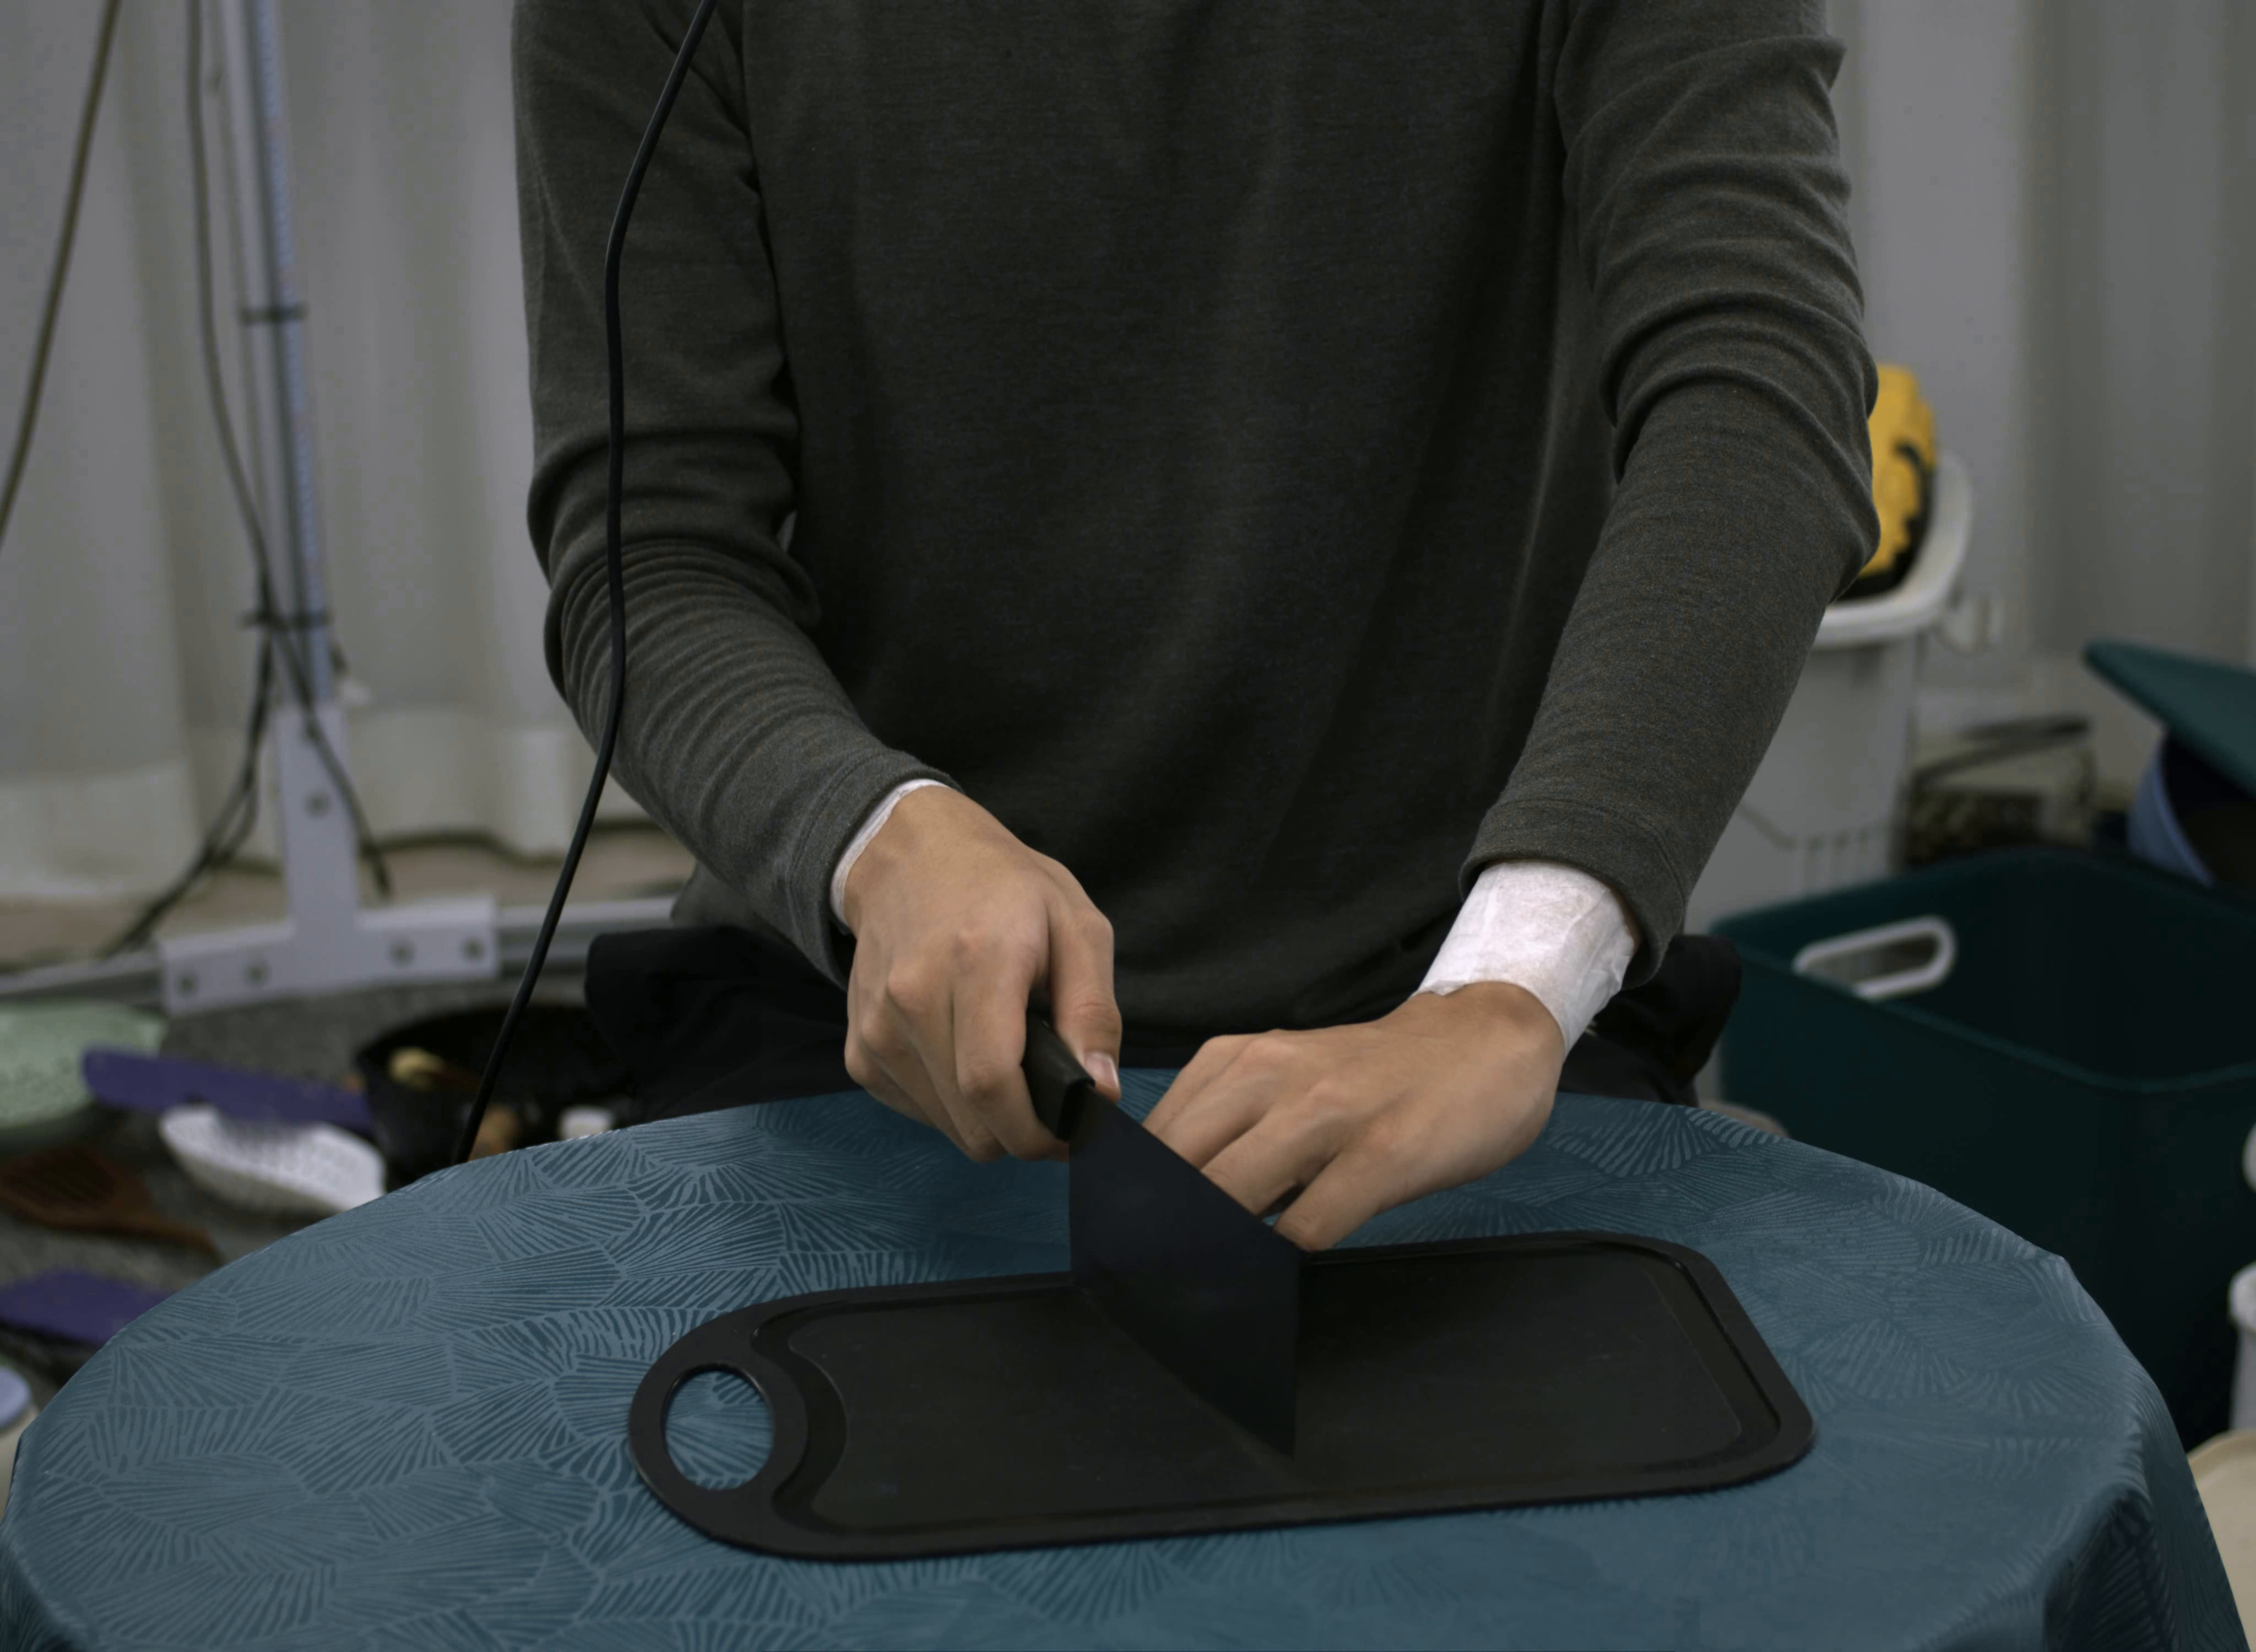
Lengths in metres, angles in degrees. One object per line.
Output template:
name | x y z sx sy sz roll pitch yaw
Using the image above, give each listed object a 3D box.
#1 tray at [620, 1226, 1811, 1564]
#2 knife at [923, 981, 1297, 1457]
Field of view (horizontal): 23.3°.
tray | 0.020 0.156 1.537 0.324 0.010 0.213 -3 16 -5
knife | -0.006 0.106 1.591 0.021 0.080 0.305 -3 18 -19
